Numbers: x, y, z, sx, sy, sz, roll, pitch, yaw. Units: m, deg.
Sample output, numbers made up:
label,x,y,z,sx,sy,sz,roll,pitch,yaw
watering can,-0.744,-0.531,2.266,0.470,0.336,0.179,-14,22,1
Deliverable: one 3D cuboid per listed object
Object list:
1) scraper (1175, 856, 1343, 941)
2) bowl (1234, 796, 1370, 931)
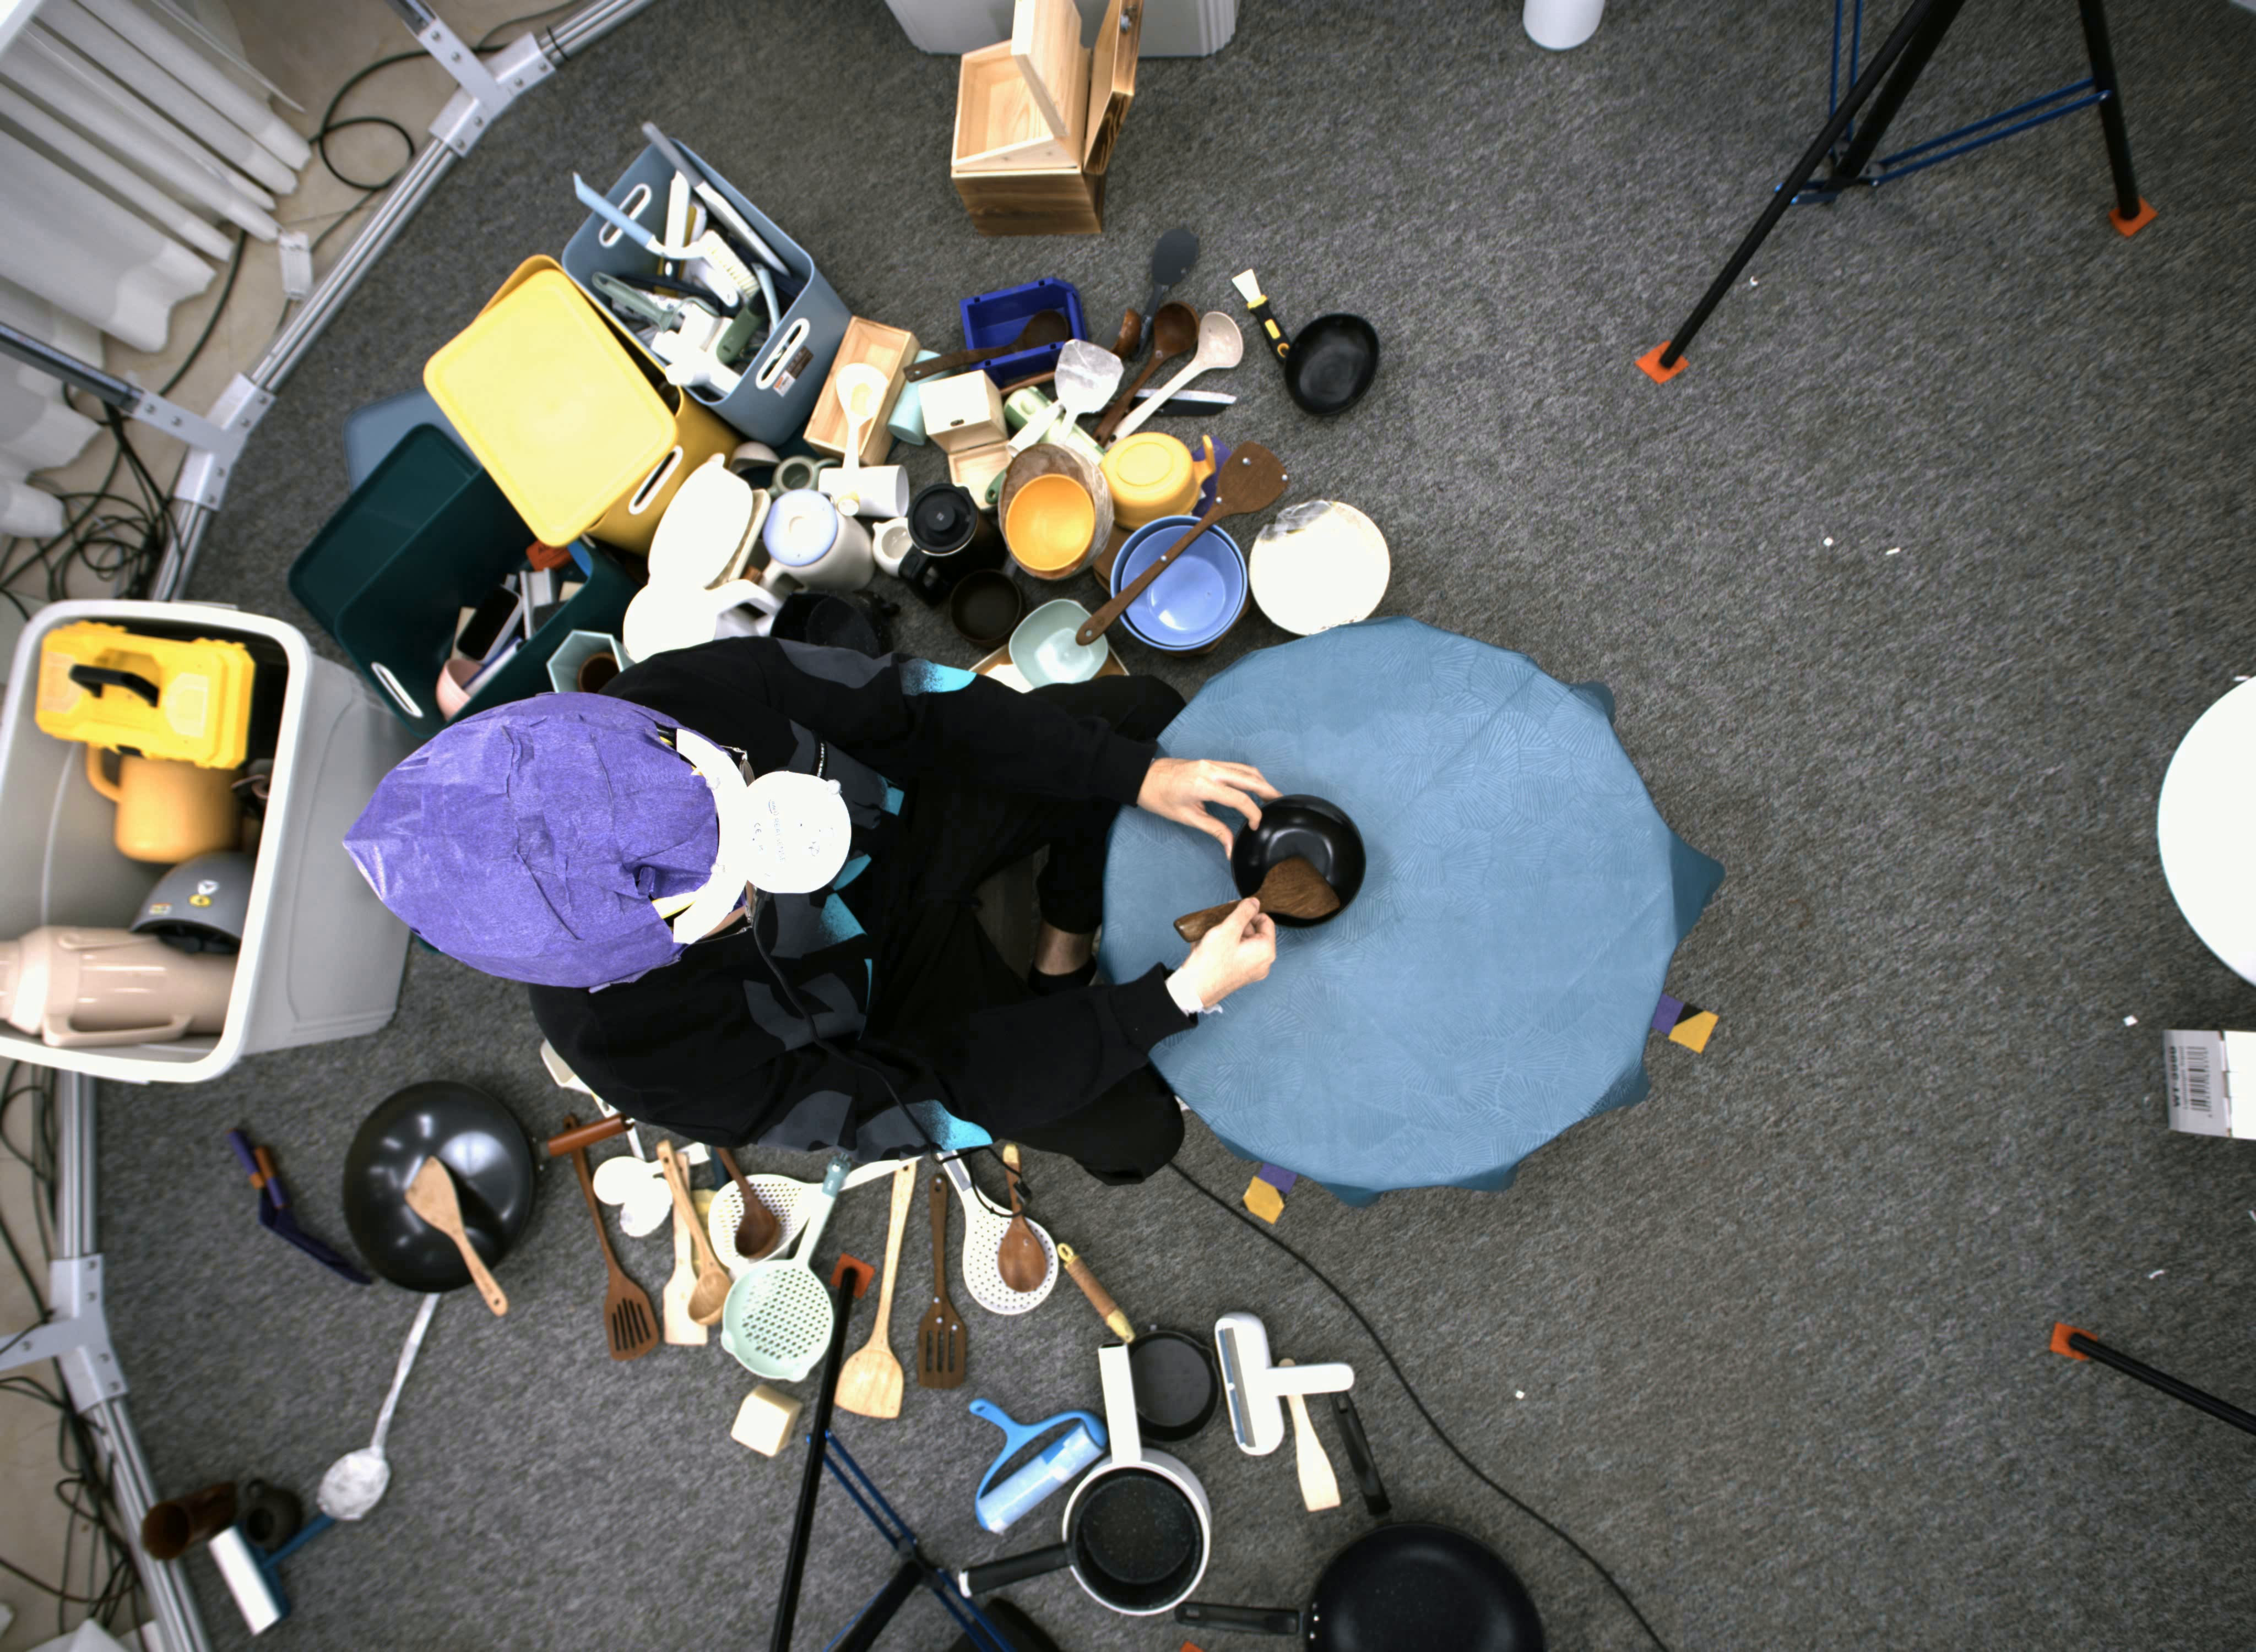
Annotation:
label,x,y,z,sx,sy,sz,roll,pitch,yaw
scraper,0.128,0.079,1.381,0.075,0.208,0.011,54,136,24
bowl,0.179,0.037,1.436,0.140,0.049,0.140,0,94,6
